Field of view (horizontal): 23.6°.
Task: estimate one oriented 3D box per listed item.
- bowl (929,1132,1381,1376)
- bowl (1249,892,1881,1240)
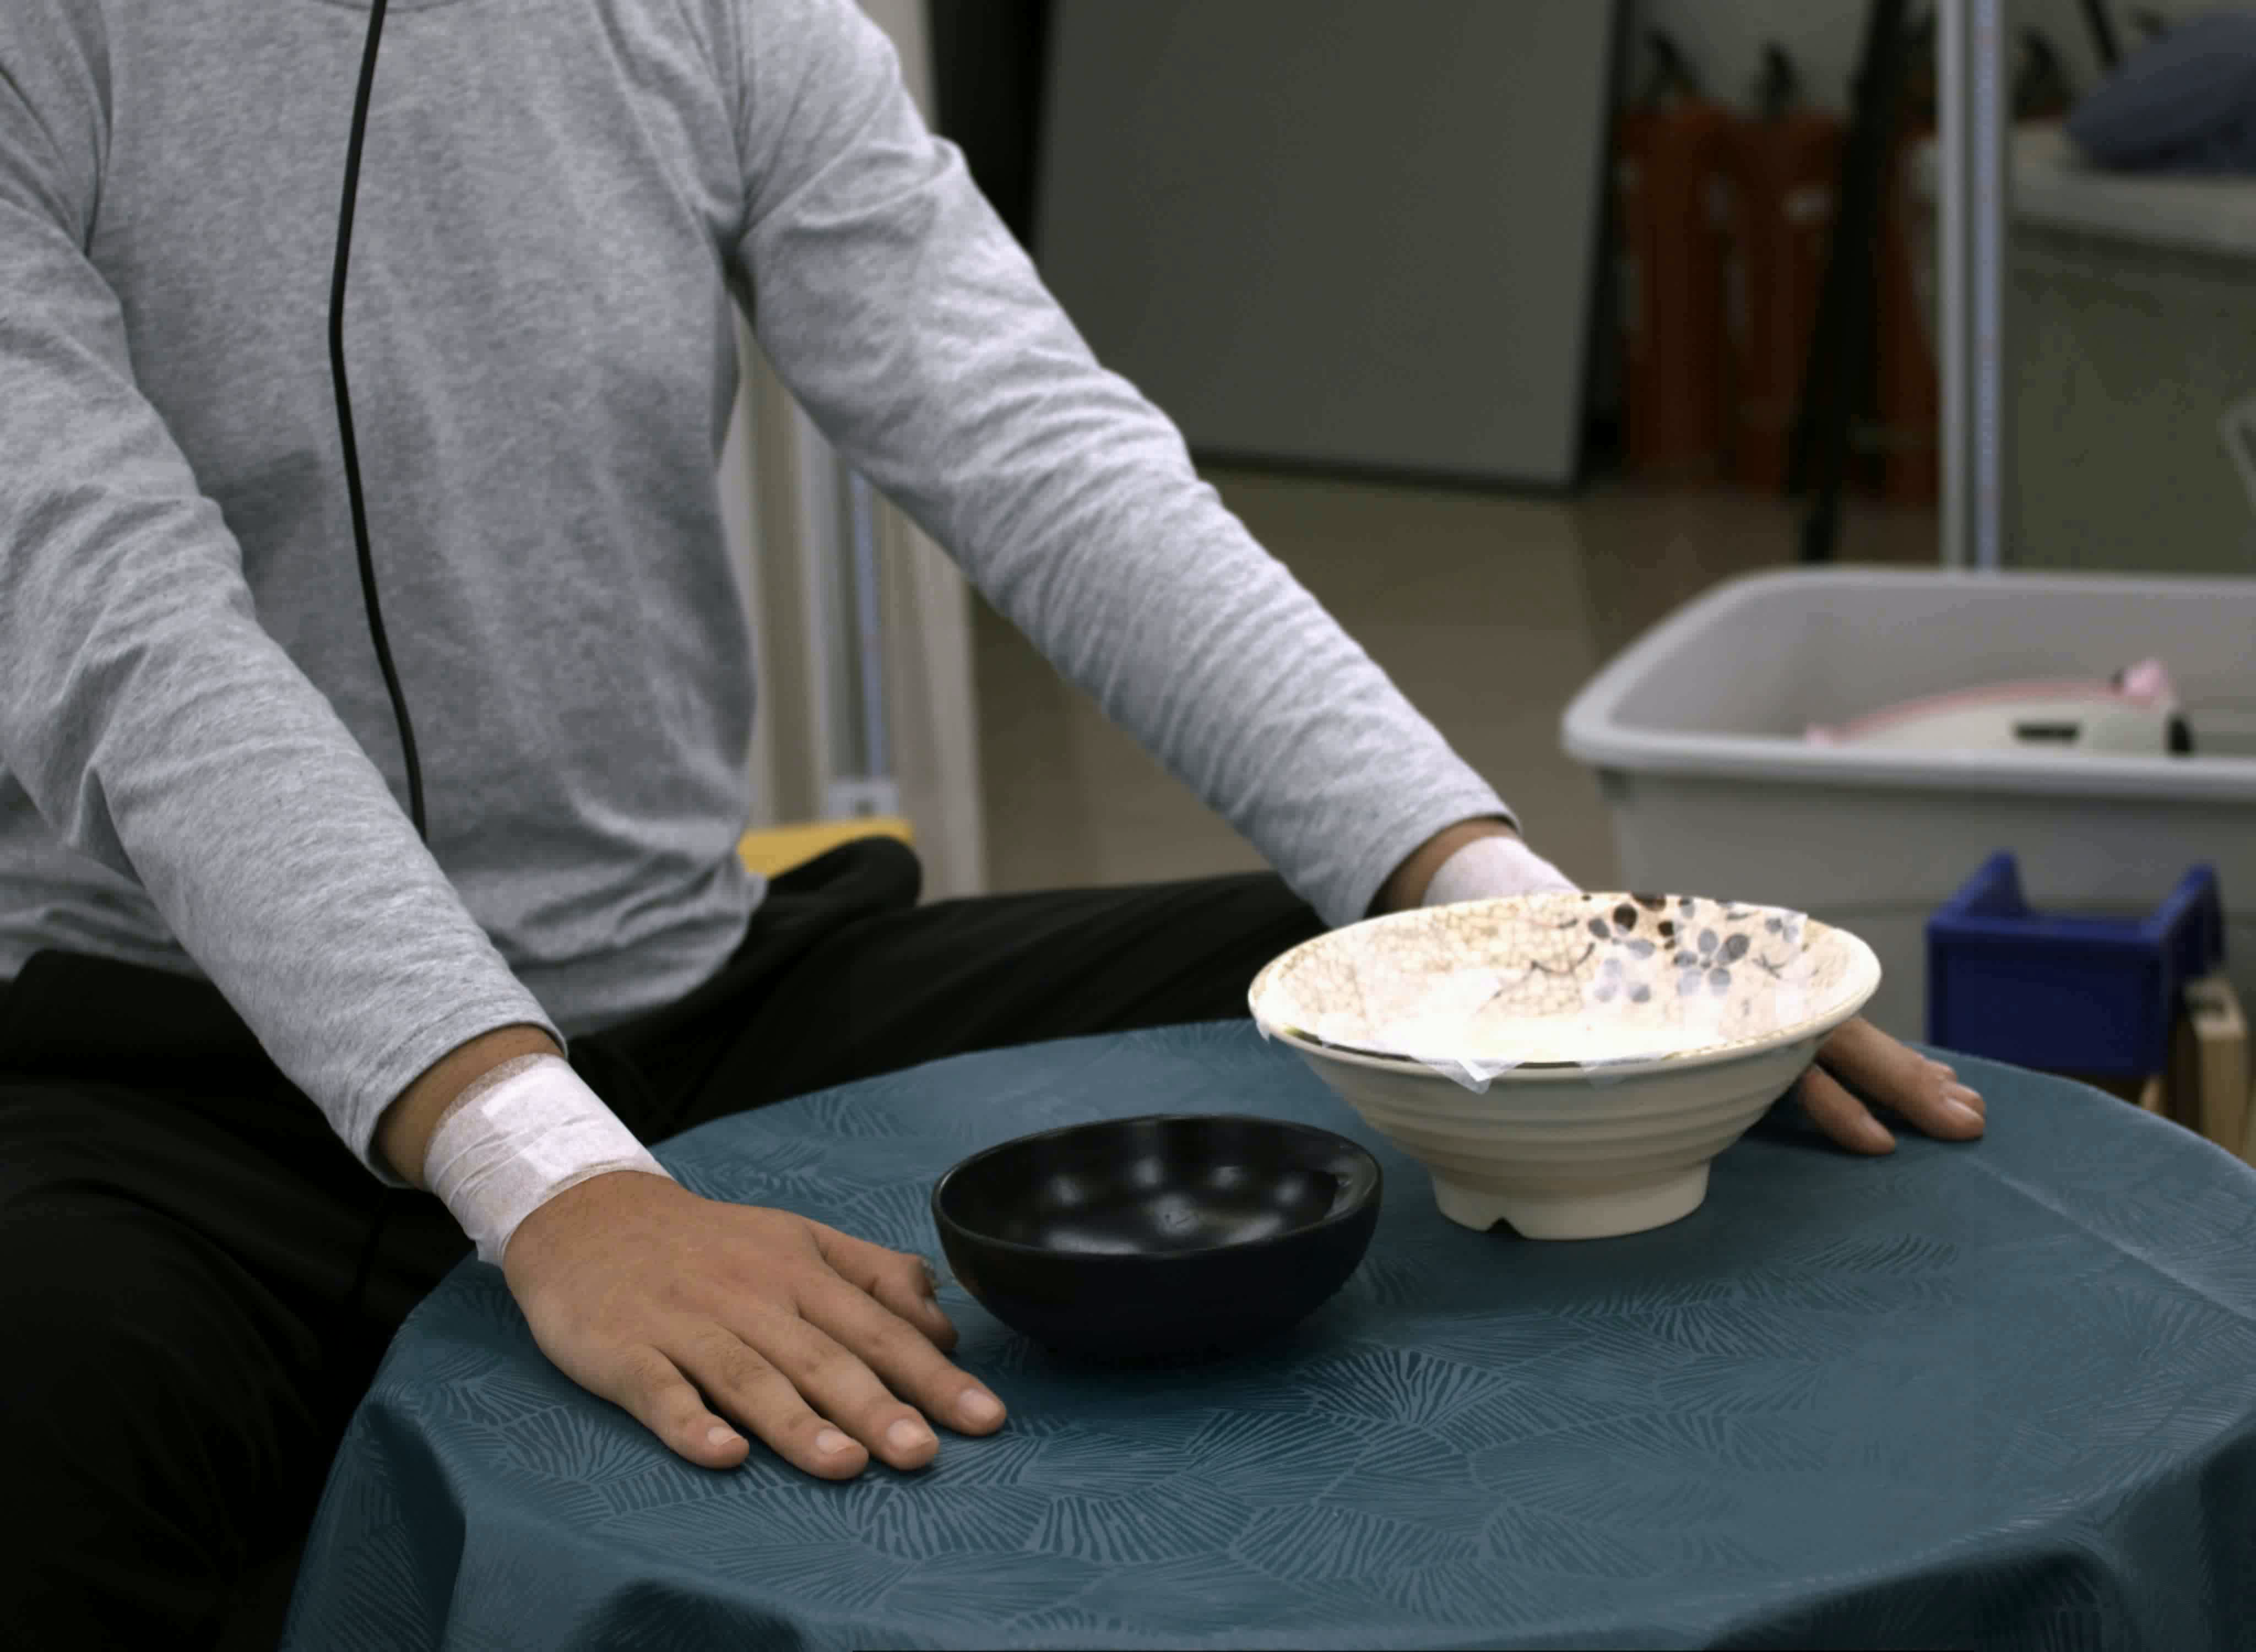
[{"bbox_3d":[0.010,0.133,1.631,0.138,0.050,0.140,-4,10,0],"label":"bowl"},{"bbox_3d":[0.141,0.083,1.724,0.201,0.079,0.204,-4,13,0],"label":"bowl"}]
